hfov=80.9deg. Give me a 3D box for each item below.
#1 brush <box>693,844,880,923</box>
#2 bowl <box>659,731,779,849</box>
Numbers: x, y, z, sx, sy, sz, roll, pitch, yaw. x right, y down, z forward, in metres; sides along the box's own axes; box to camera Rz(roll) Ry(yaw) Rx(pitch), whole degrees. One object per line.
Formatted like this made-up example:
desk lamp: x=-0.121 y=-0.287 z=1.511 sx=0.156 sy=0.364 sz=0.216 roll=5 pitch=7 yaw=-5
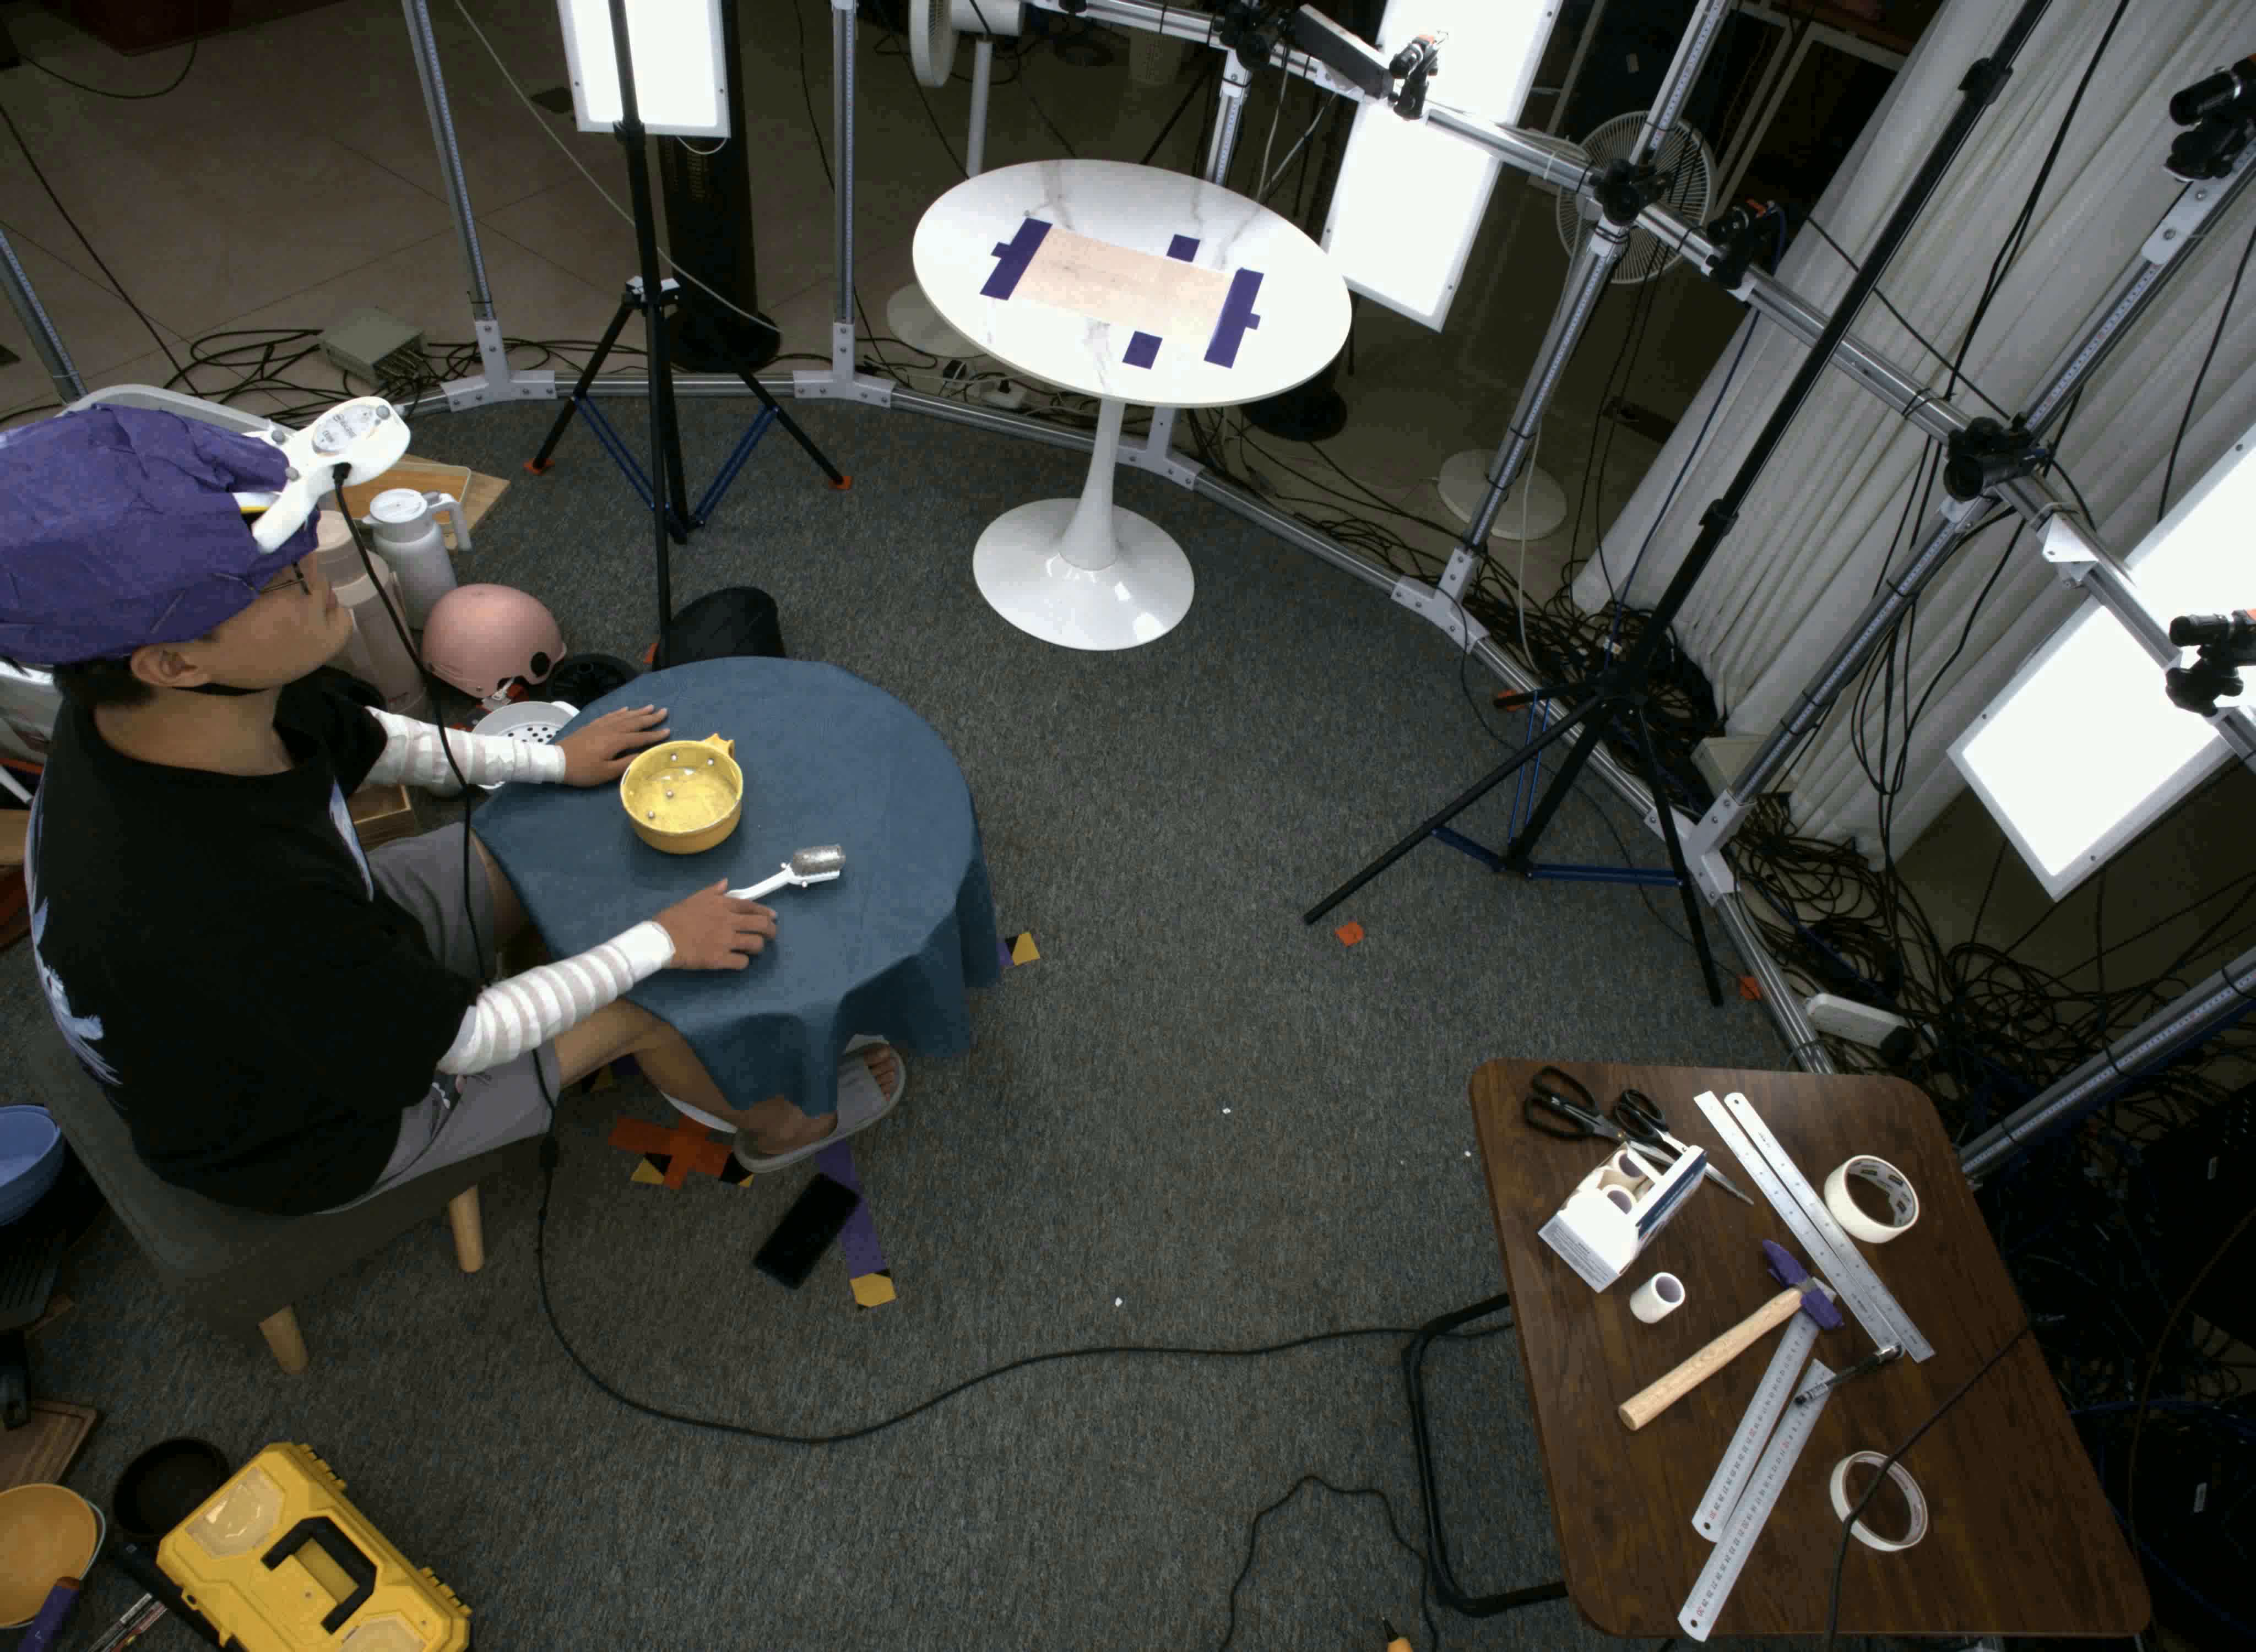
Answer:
brush: x=-0.434 y=0.069 z=1.648 sx=0.245 sy=0.051 sz=0.033 roll=-16 pitch=59 yaw=-25
bowl: x=-0.527 y=-0.049 z=1.701 sx=0.150 sy=0.076 sz=0.178 roll=19 pitch=51 yaw=7
